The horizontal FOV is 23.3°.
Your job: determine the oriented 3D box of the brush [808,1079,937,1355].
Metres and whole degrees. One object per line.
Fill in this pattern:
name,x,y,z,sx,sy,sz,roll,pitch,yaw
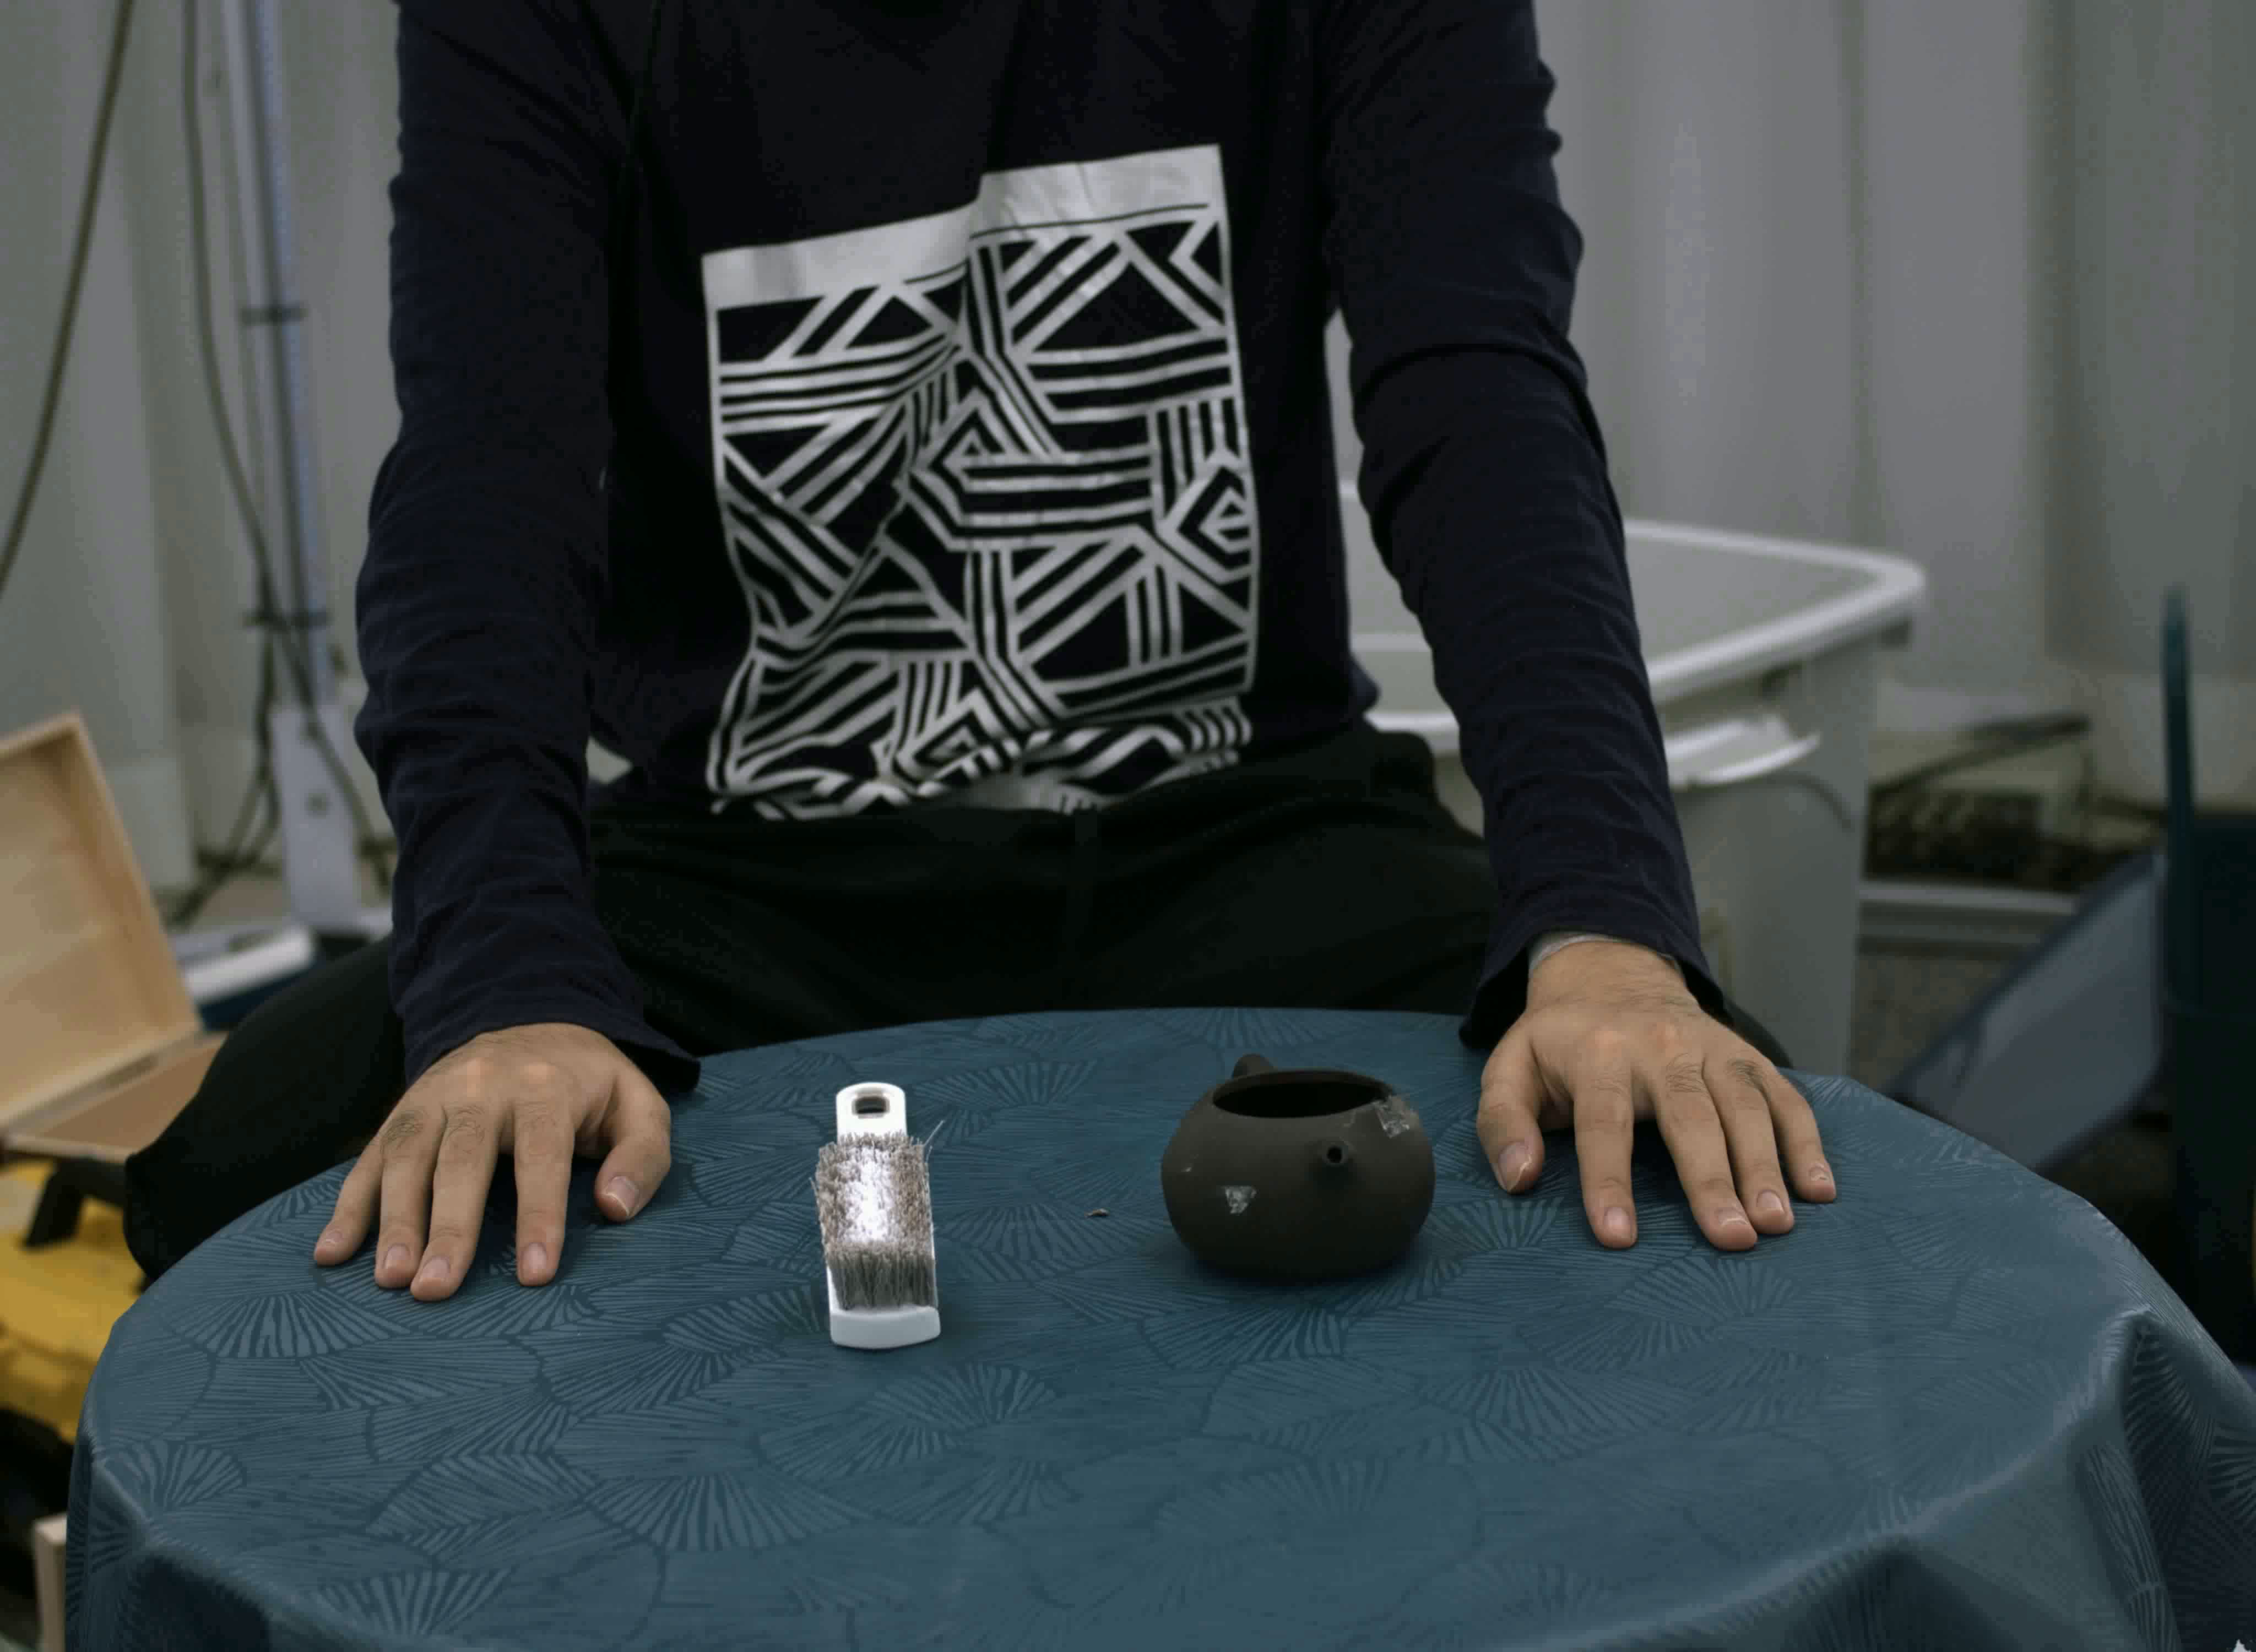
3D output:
brush,-0.076,0.101,1.689,0.034,0.050,0.245,-7,15,1

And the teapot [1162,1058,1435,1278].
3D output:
teapot,0.048,0.101,1.659,0.082,0.053,0.115,-7,16,-11
